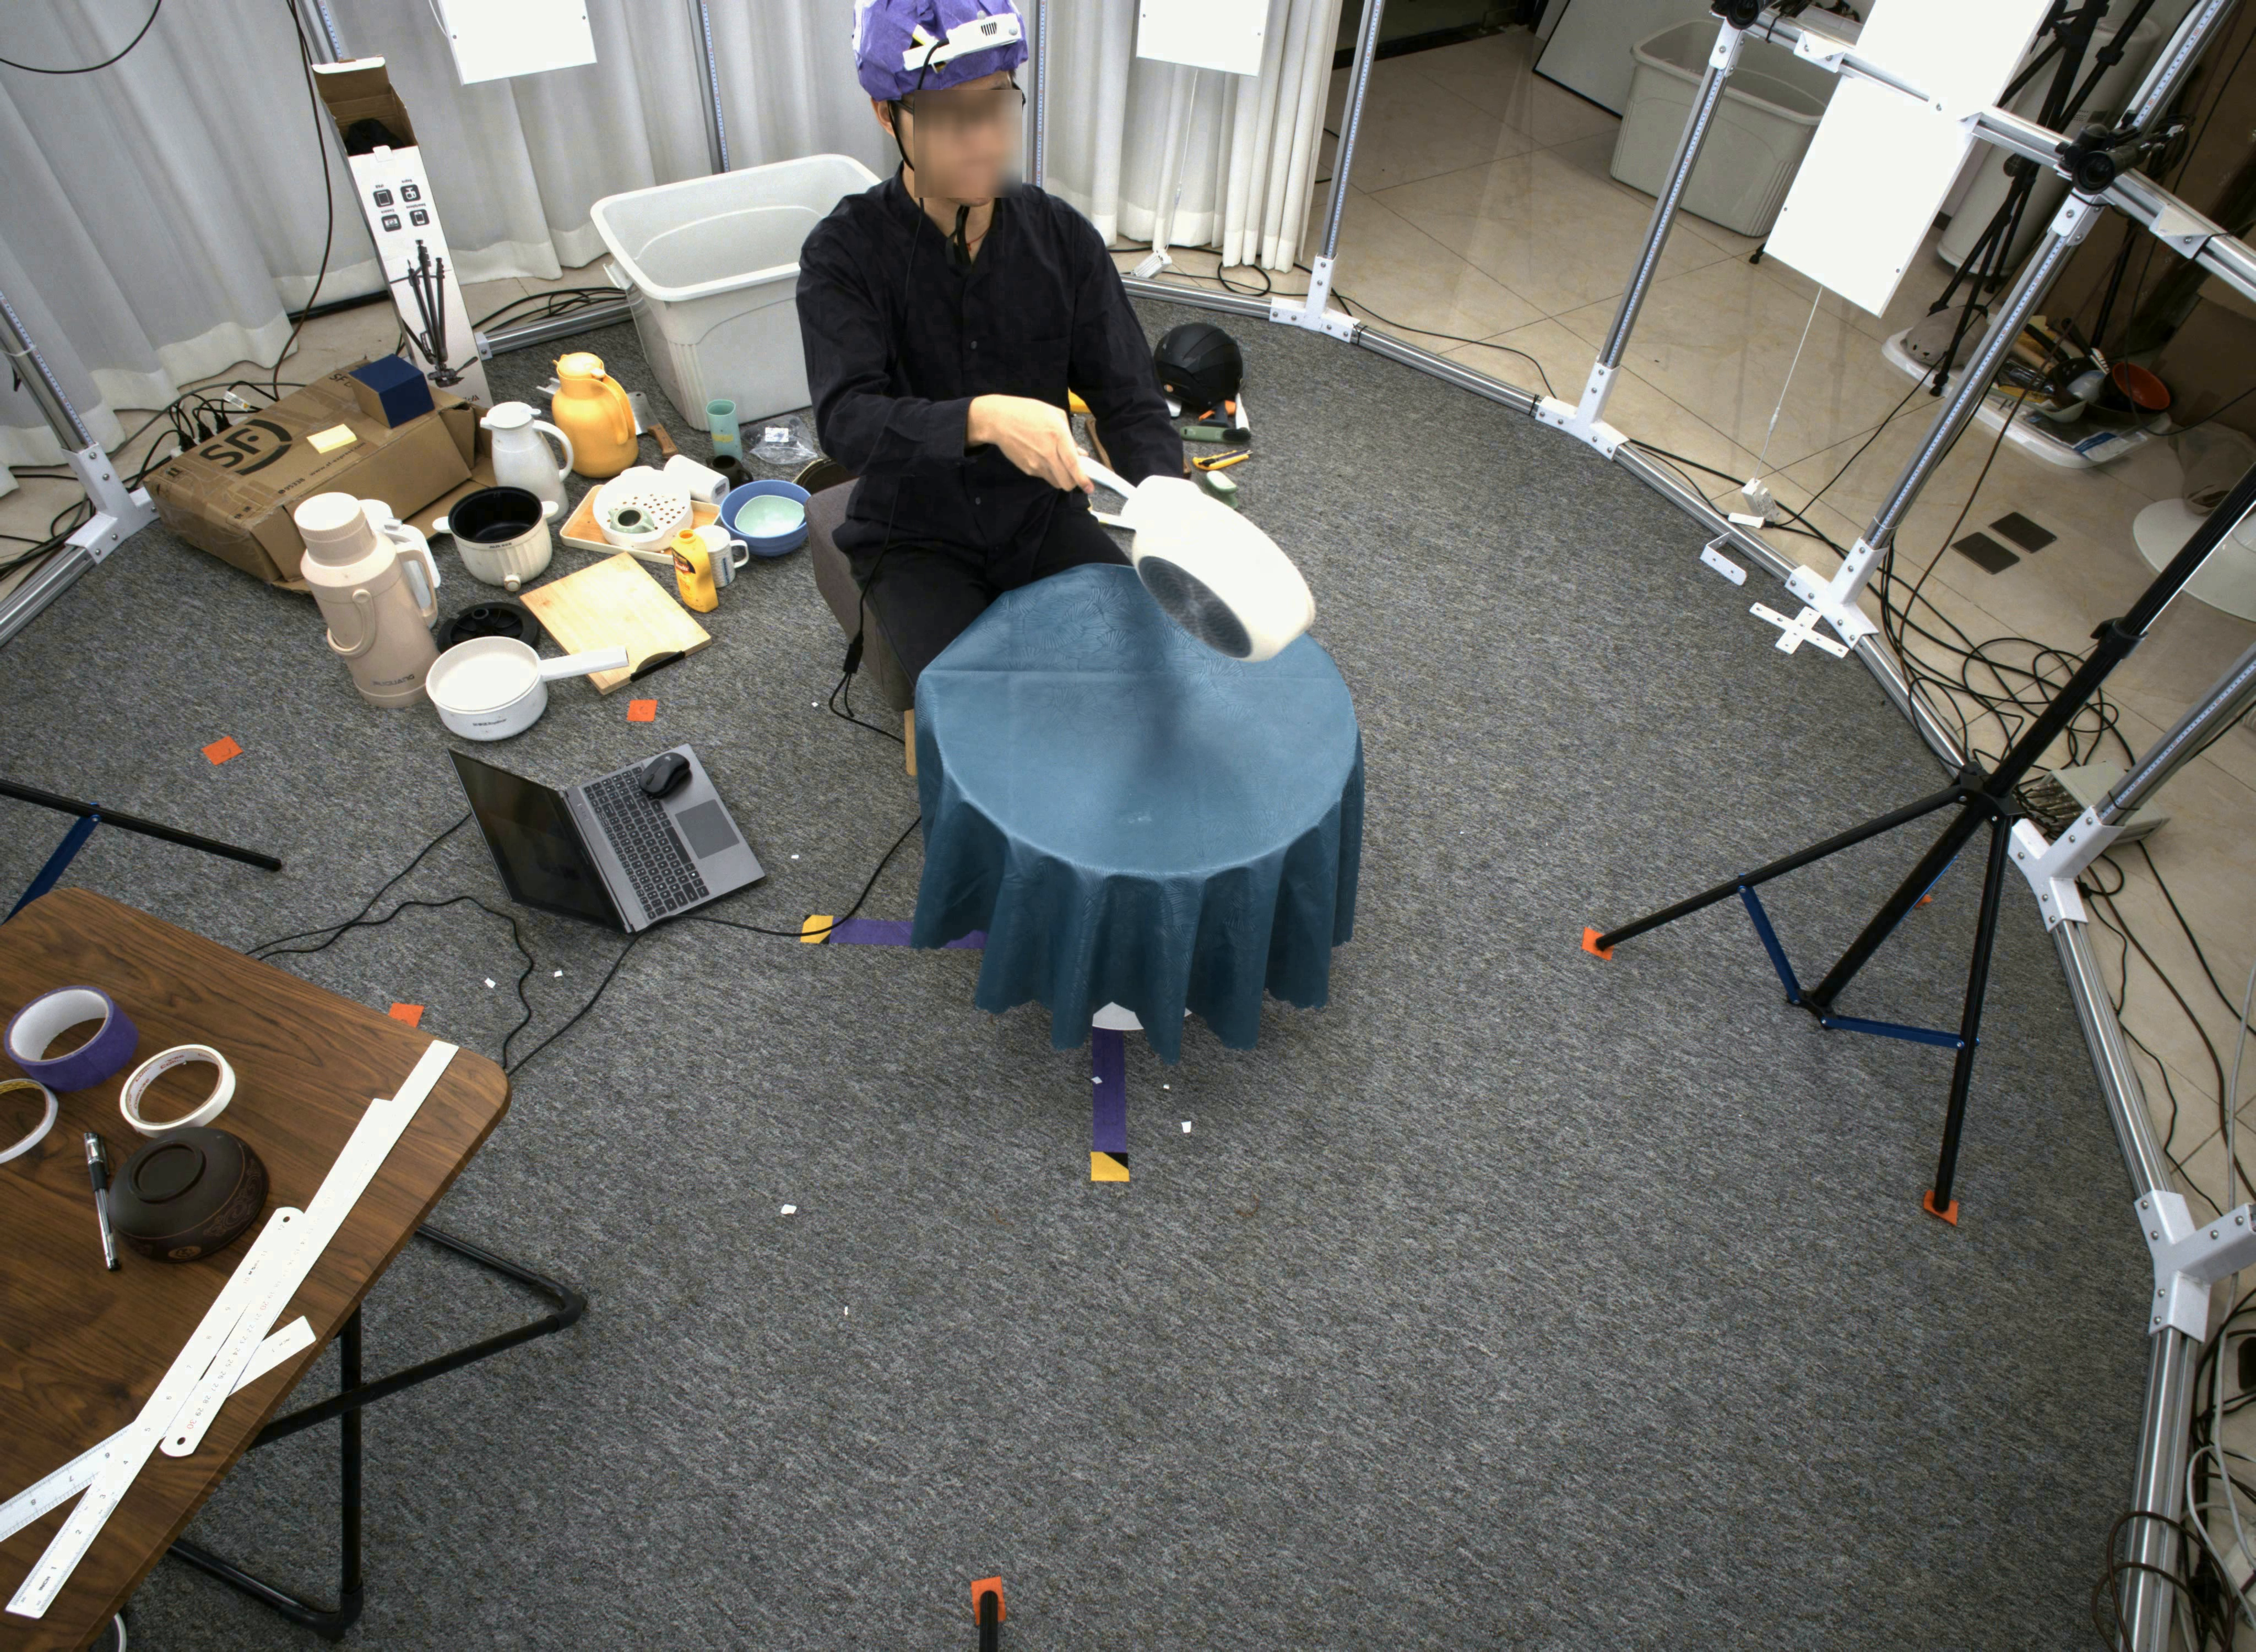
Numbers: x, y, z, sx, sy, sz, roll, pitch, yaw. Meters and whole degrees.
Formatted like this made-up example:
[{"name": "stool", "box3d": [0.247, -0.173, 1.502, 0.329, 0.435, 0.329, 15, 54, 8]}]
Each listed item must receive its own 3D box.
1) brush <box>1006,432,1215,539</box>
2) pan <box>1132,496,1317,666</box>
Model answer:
[{"name": "brush", "box3d": [-0.019, -0.409, 1.552, 0.083, 0.083, 0.330, -27, 40, -37]}, {"name": "pan", "box3d": [0.081, -0.313, 1.688, 0.260, 0.438, 0.102, 43, 80, -19]}]
